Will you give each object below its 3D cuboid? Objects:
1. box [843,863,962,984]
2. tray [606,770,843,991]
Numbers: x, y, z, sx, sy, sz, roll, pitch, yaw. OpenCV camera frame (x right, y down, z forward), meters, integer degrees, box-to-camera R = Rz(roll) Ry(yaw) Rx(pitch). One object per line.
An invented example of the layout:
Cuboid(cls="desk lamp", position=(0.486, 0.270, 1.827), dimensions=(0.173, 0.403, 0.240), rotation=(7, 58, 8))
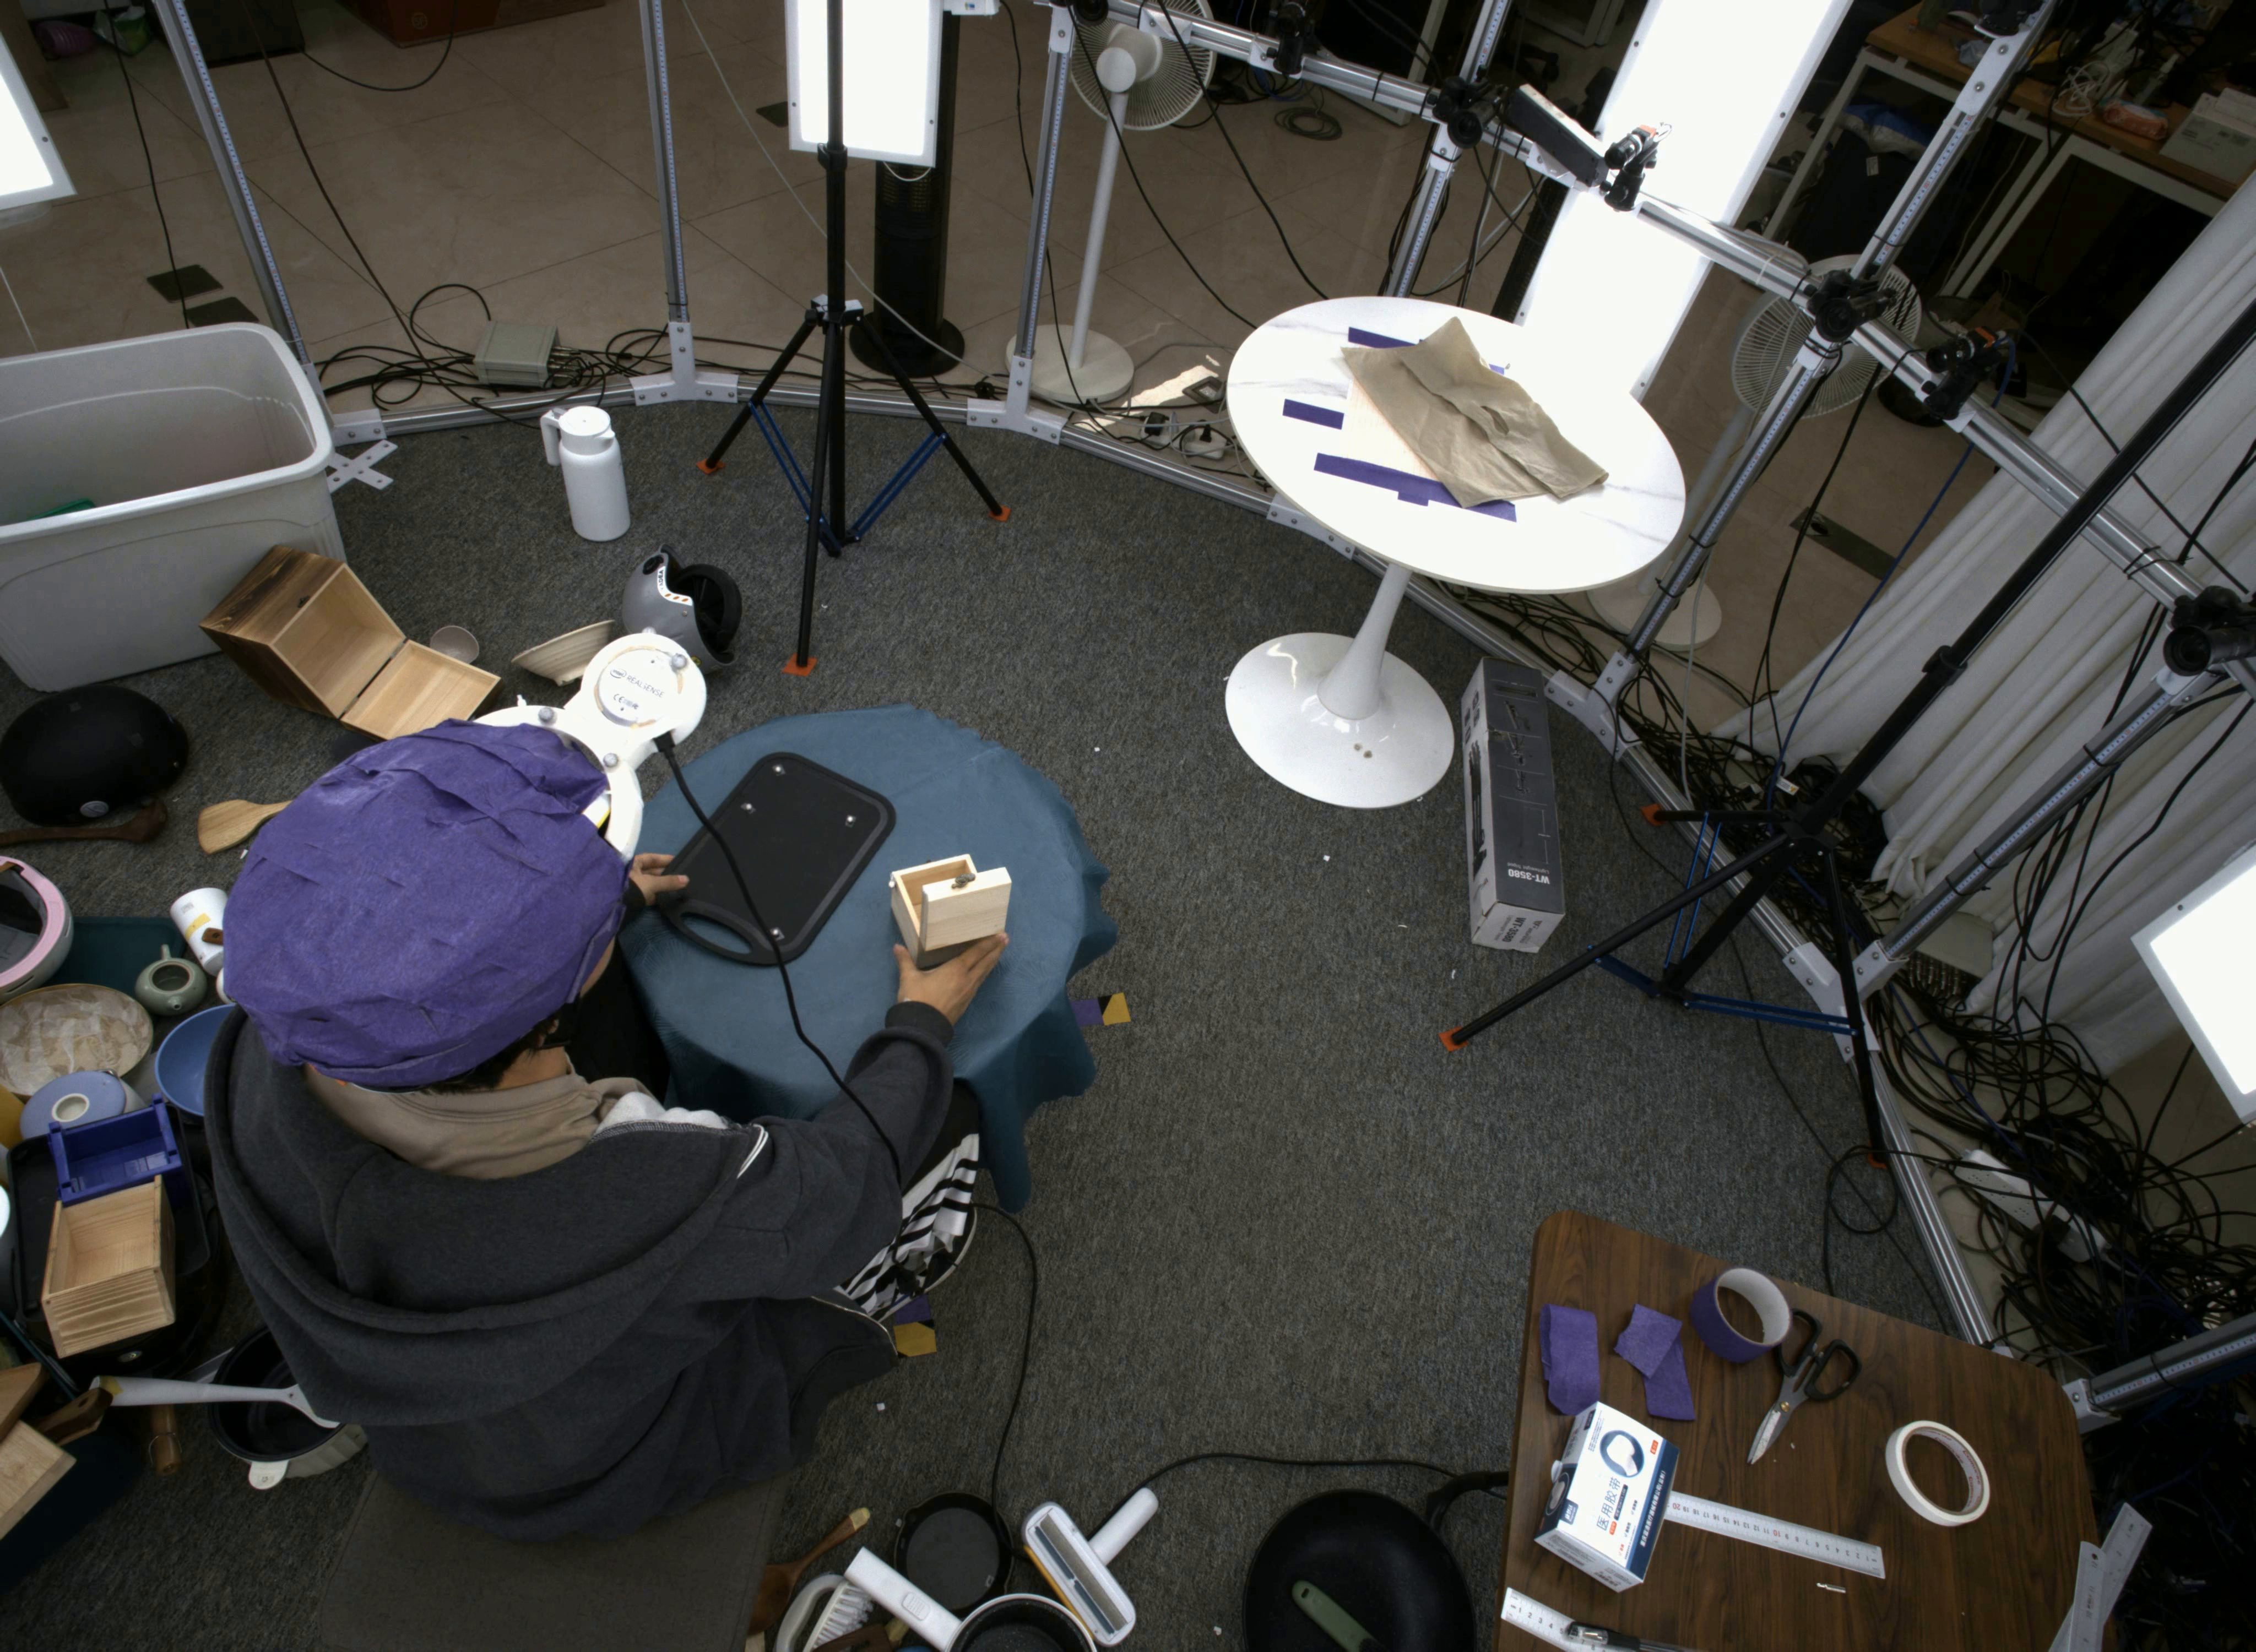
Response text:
Cuboid(cls="box", position=(-0.277, 0.094, 1.578), dimensions=(0.103, 0.188, 0.130), rotation=(-19, 60, -25))
Cuboid(cls="tray", position=(-0.514, 0.064, 1.645), dimensions=(0.209, 0.010, 0.322), rotation=(25, 51, 0))
